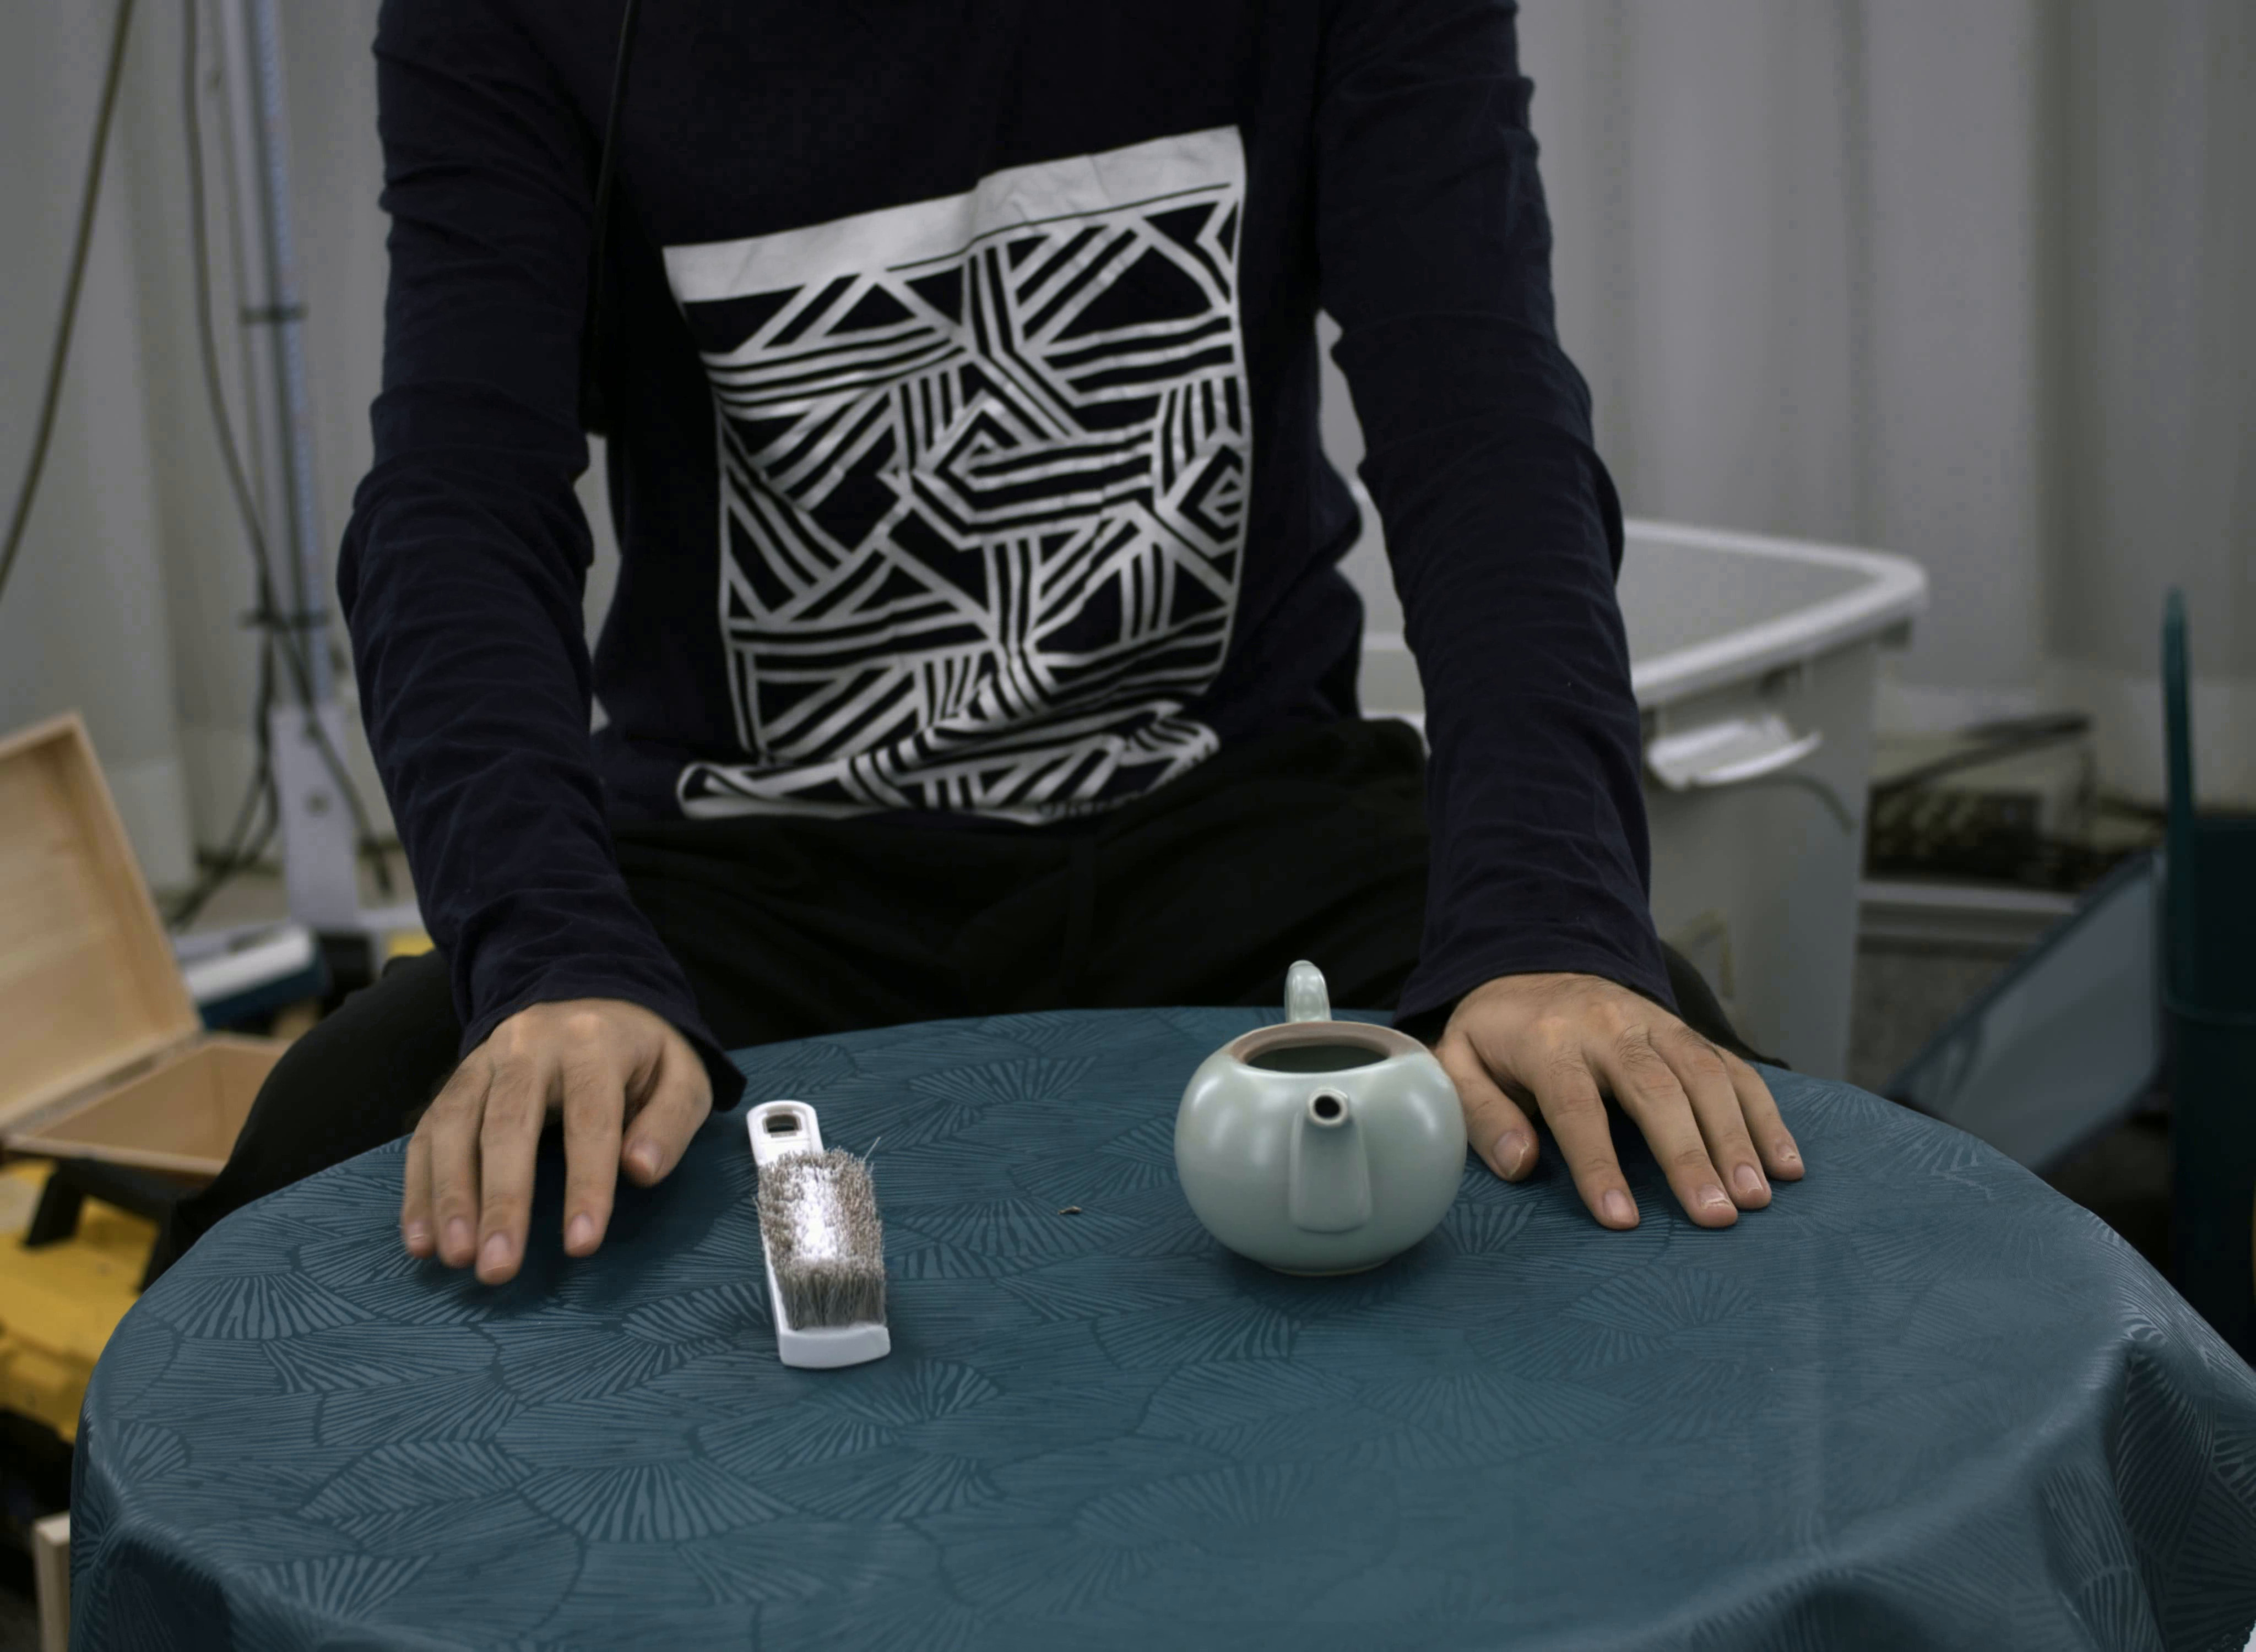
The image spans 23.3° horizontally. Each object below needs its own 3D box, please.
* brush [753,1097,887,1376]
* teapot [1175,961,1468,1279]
[{"bbox_3d":[-0.096,0.106,1.675,0.034,0.050,0.245,-9,16,-2],"label":"brush"},{"bbox_3d":[0.058,0.095,1.641,0.088,0.074,0.145,-4,16,2],"label":"teapot"}]
